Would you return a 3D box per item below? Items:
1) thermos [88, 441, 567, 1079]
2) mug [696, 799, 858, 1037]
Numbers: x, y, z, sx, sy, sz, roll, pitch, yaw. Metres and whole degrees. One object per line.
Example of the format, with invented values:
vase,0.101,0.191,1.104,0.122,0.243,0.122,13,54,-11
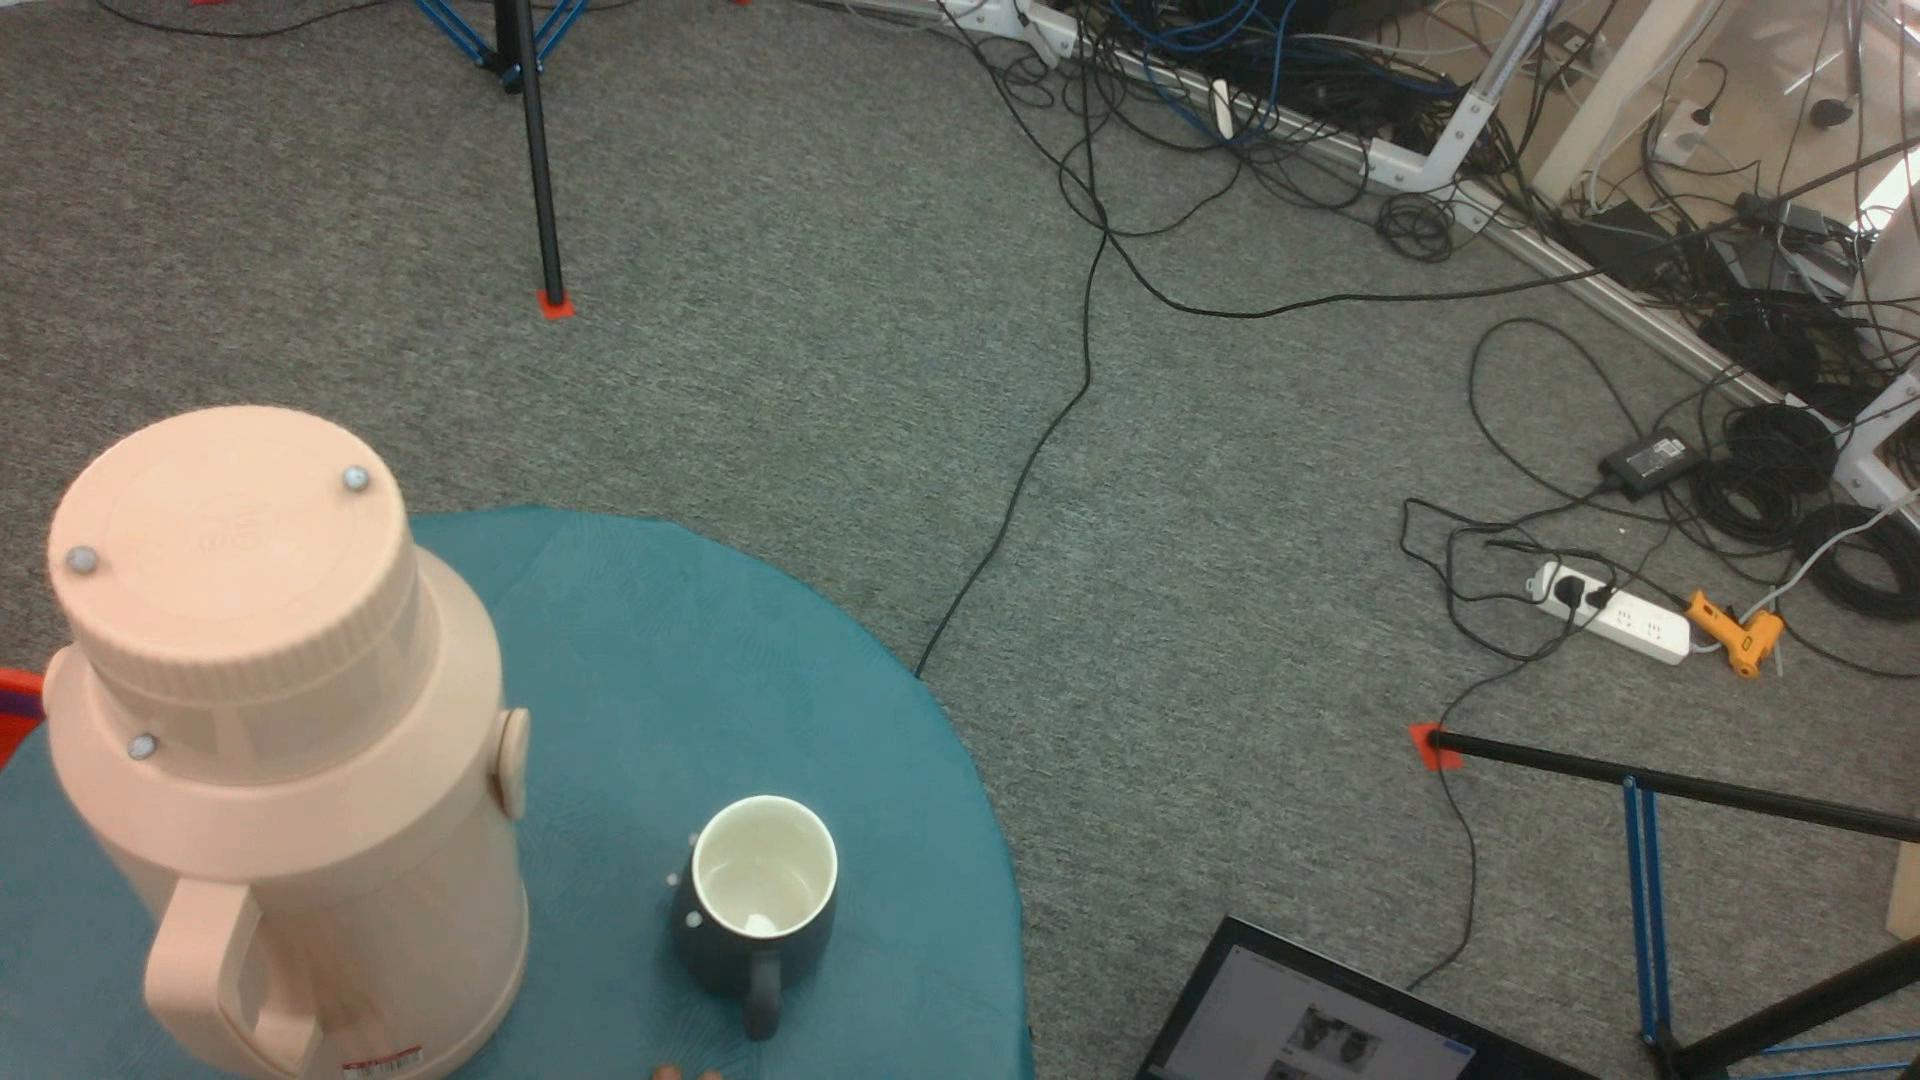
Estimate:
thermos,-0.271,0.136,0.612,0.175,0.404,0.208,6,52,-9
mug,-0.102,0.217,0.783,0.093,0.089,0.124,1,53,-12
